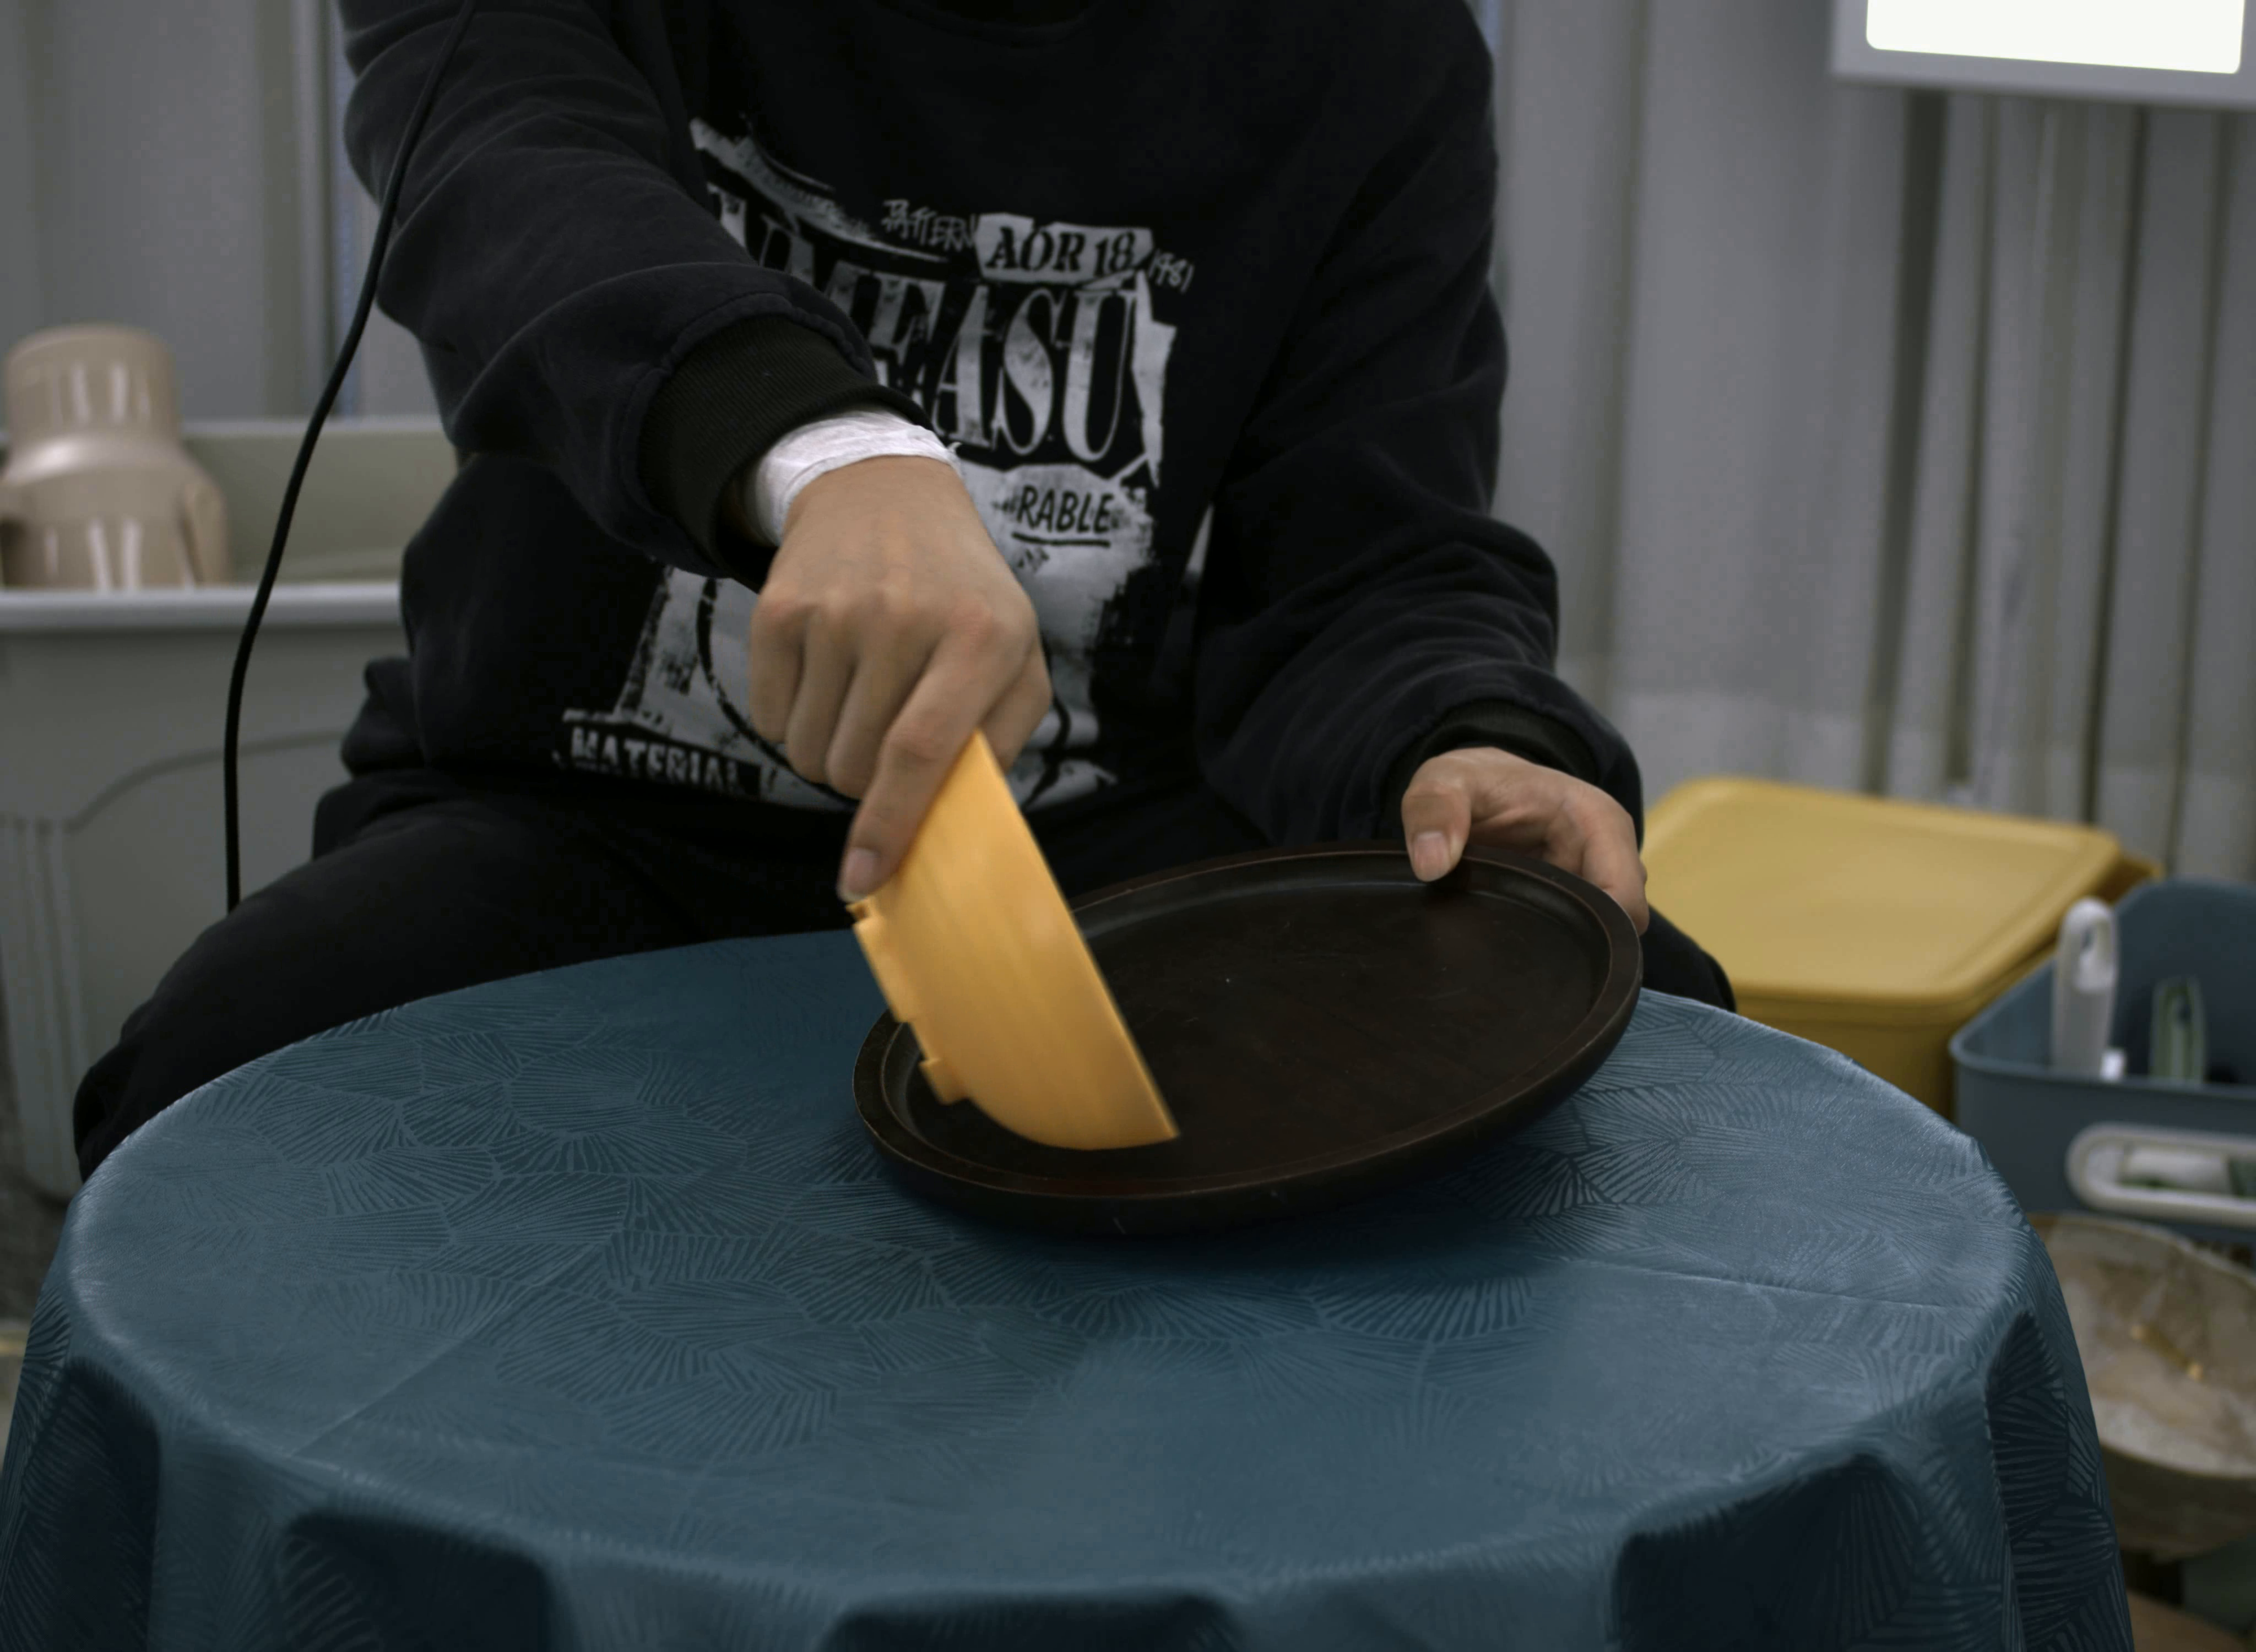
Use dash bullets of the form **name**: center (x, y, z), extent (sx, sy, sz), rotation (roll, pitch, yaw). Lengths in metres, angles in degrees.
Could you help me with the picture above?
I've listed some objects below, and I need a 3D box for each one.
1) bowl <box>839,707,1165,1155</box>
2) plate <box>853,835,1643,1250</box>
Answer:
- **bowl**: center (-0.046, 0.042, 1.563), extent (0.060, 0.147, 0.144), rotation (-26, 20, -2)
- **plate**: center (0.039, 0.066, 1.661), extent (0.253, 0.029, 0.253), rotation (-11, 22, 5)
